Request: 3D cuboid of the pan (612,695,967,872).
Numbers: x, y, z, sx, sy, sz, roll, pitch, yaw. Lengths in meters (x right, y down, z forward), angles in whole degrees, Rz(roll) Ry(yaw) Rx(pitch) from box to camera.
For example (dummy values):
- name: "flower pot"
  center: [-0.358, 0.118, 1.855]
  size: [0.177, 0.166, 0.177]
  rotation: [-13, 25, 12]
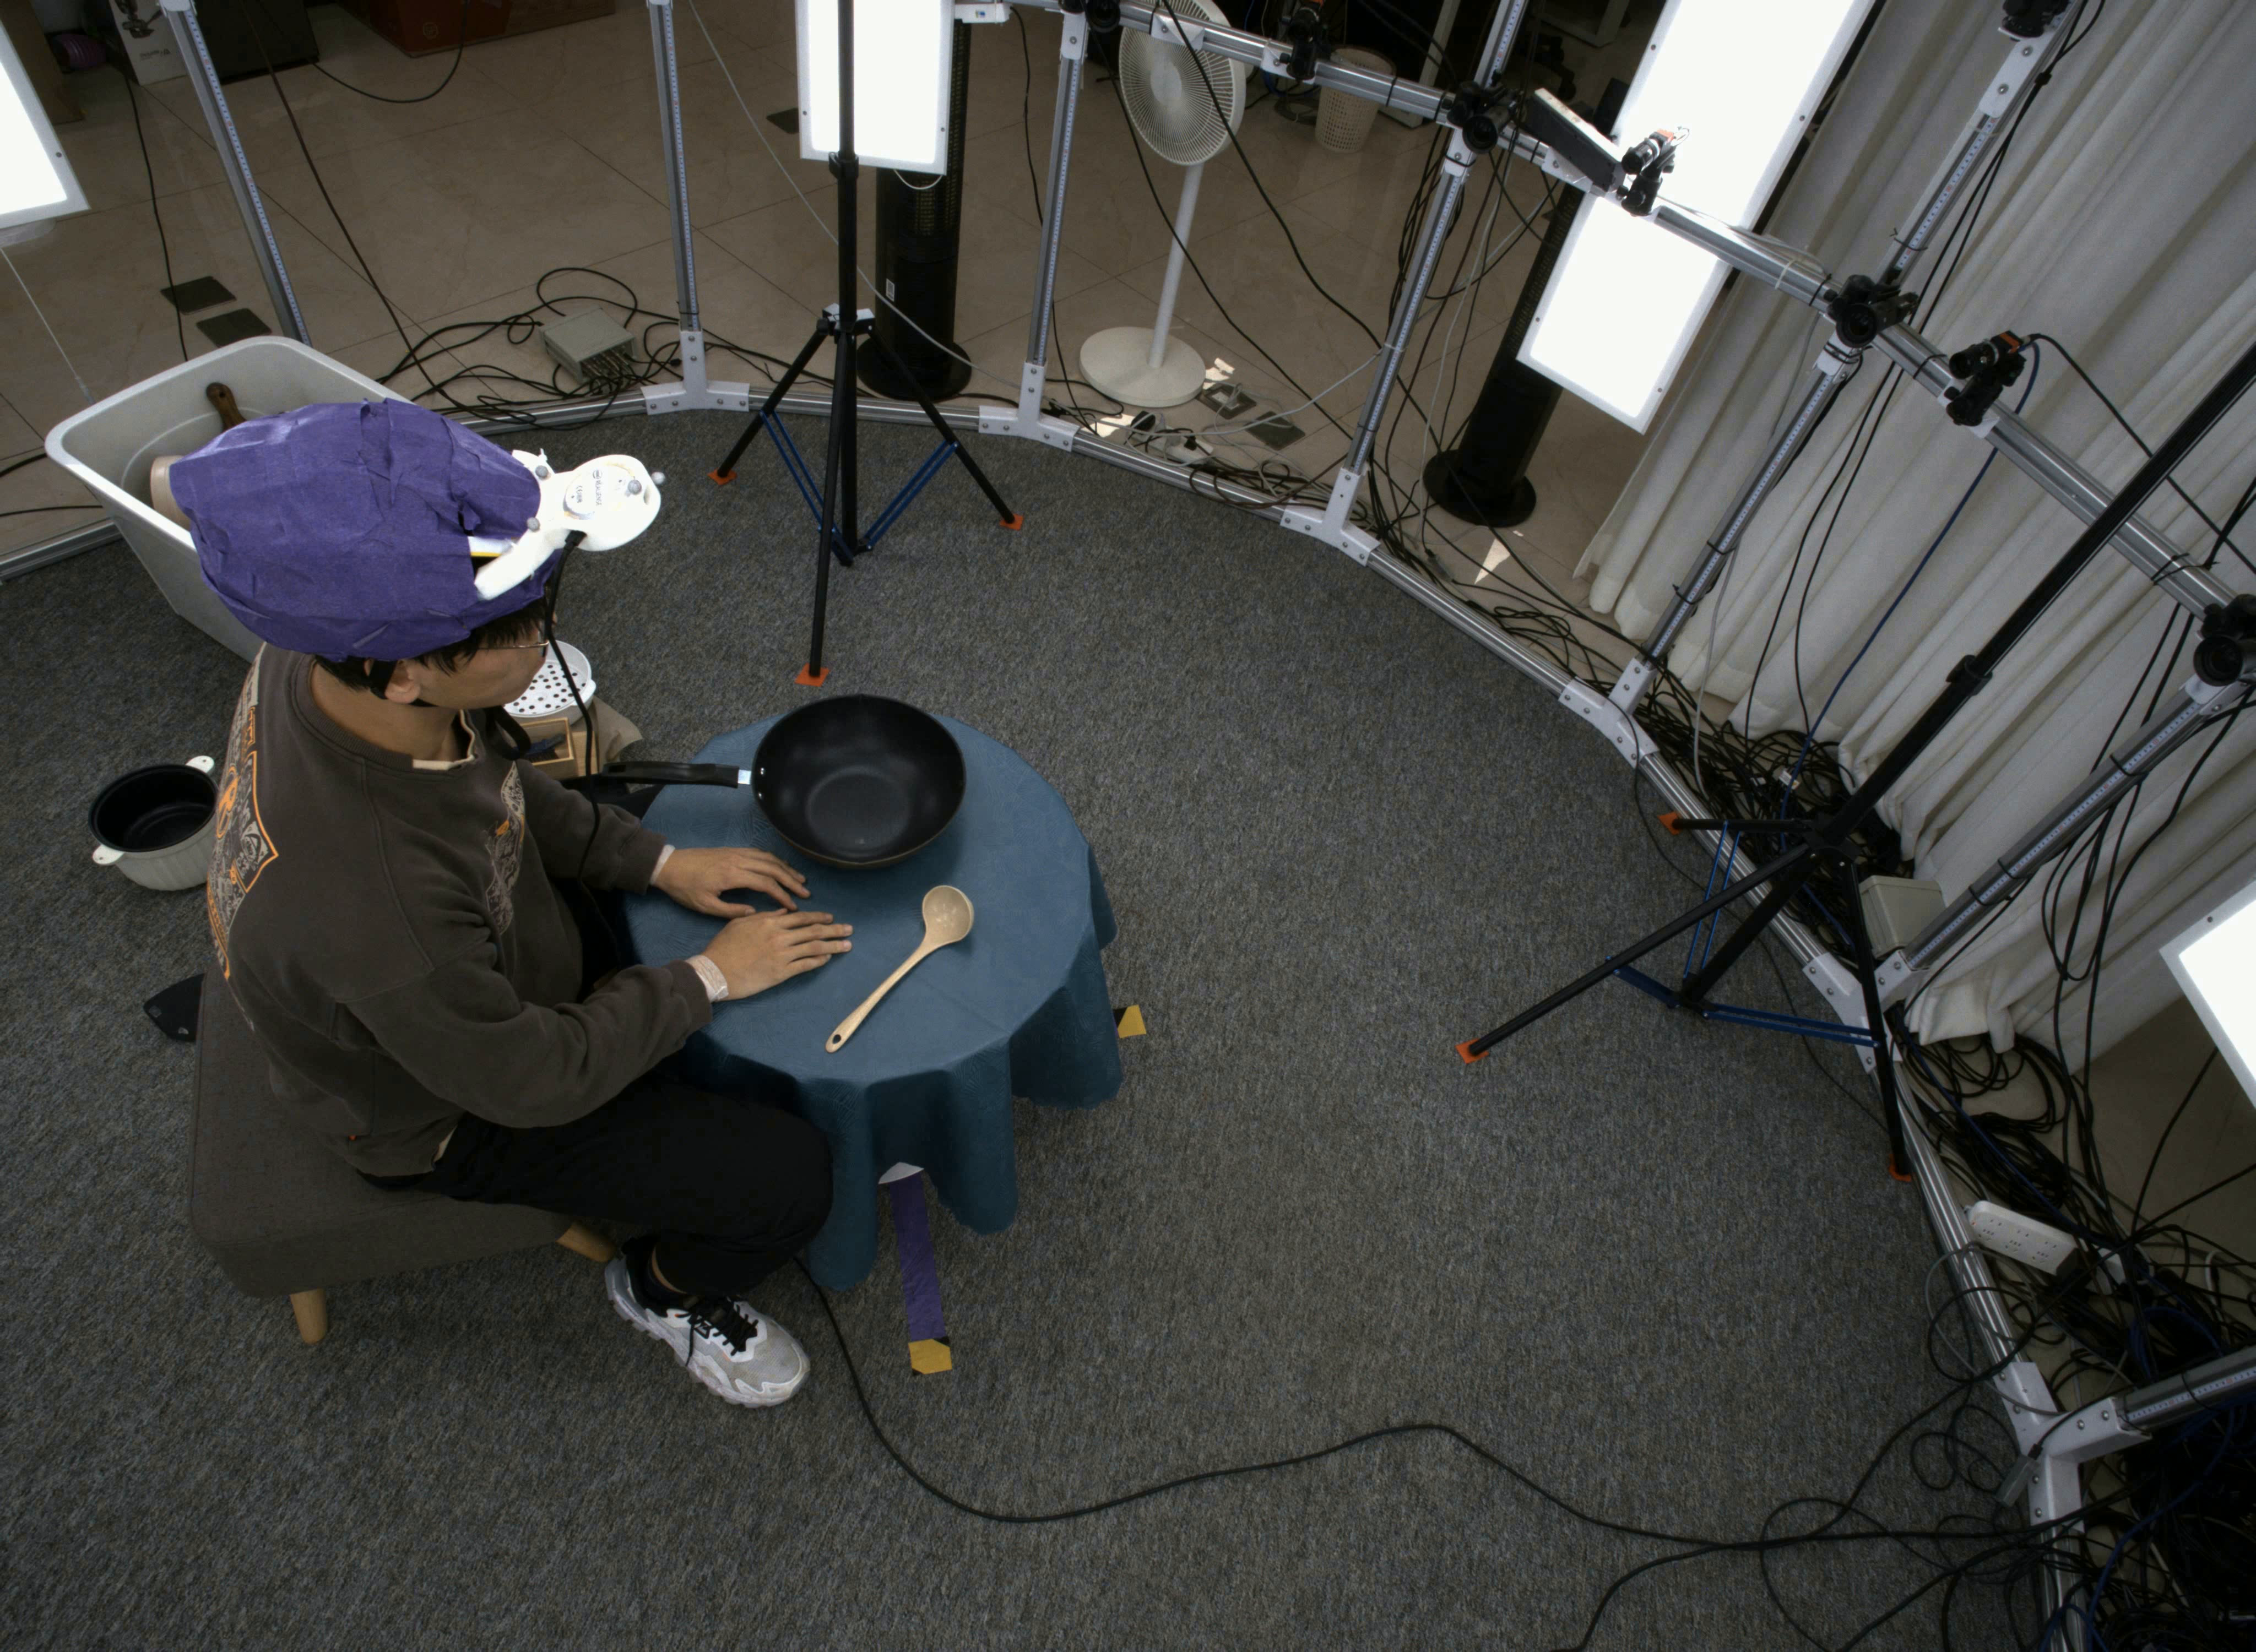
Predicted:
- name: "pan"
  center: [-0.444, -0.044, 1.713]
  size: [0.463, 0.089, 0.282]
  rotation: [0, 54, -12]

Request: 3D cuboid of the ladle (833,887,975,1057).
- name: "ladle"
  center: [-0.280, 0.172, 1.601]
  size: [0.071, 0.074, 0.254]
  rotation: [32, 52, 10]
